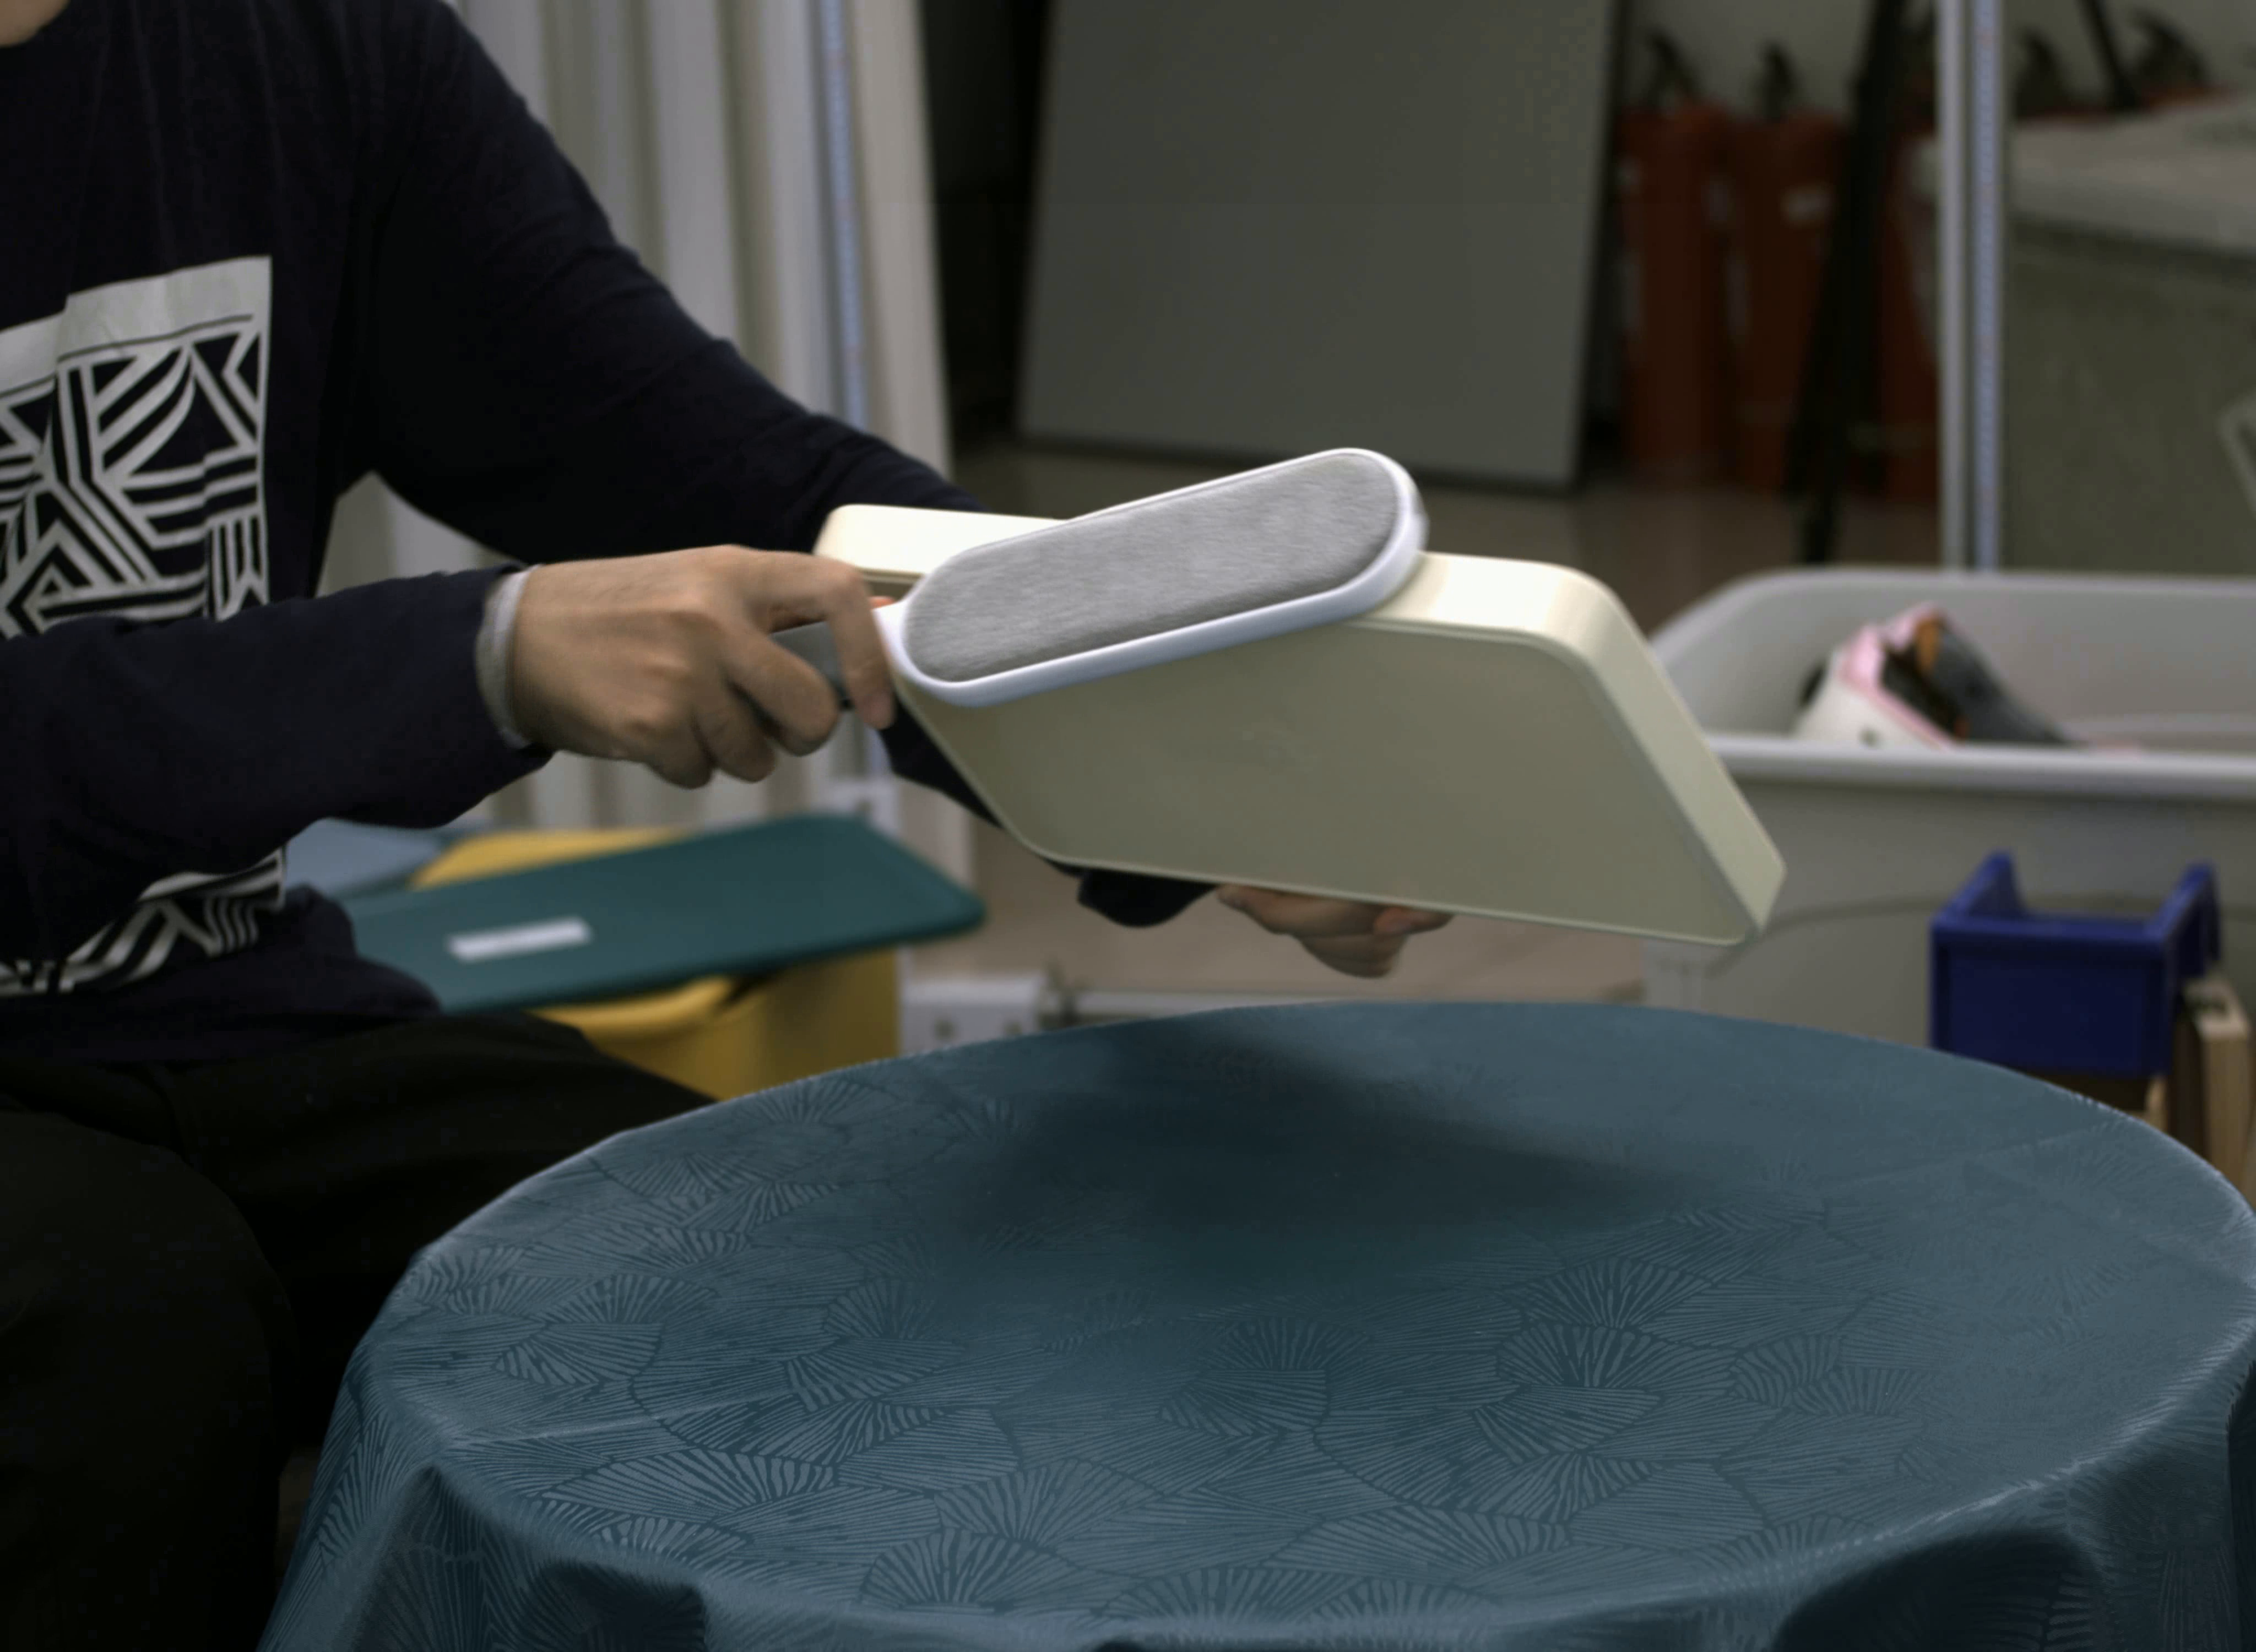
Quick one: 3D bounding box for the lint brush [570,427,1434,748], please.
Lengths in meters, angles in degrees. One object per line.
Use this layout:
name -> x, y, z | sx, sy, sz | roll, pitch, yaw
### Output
lint brush -> -0.044, -0.069, 1.701 | 0.309, 0.061, 0.020 | -13, -30, 25

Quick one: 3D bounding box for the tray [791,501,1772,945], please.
tray -> 0.048, -0.033, 1.761 | 0.302, 0.190, 0.027 | 6, 59, 35
